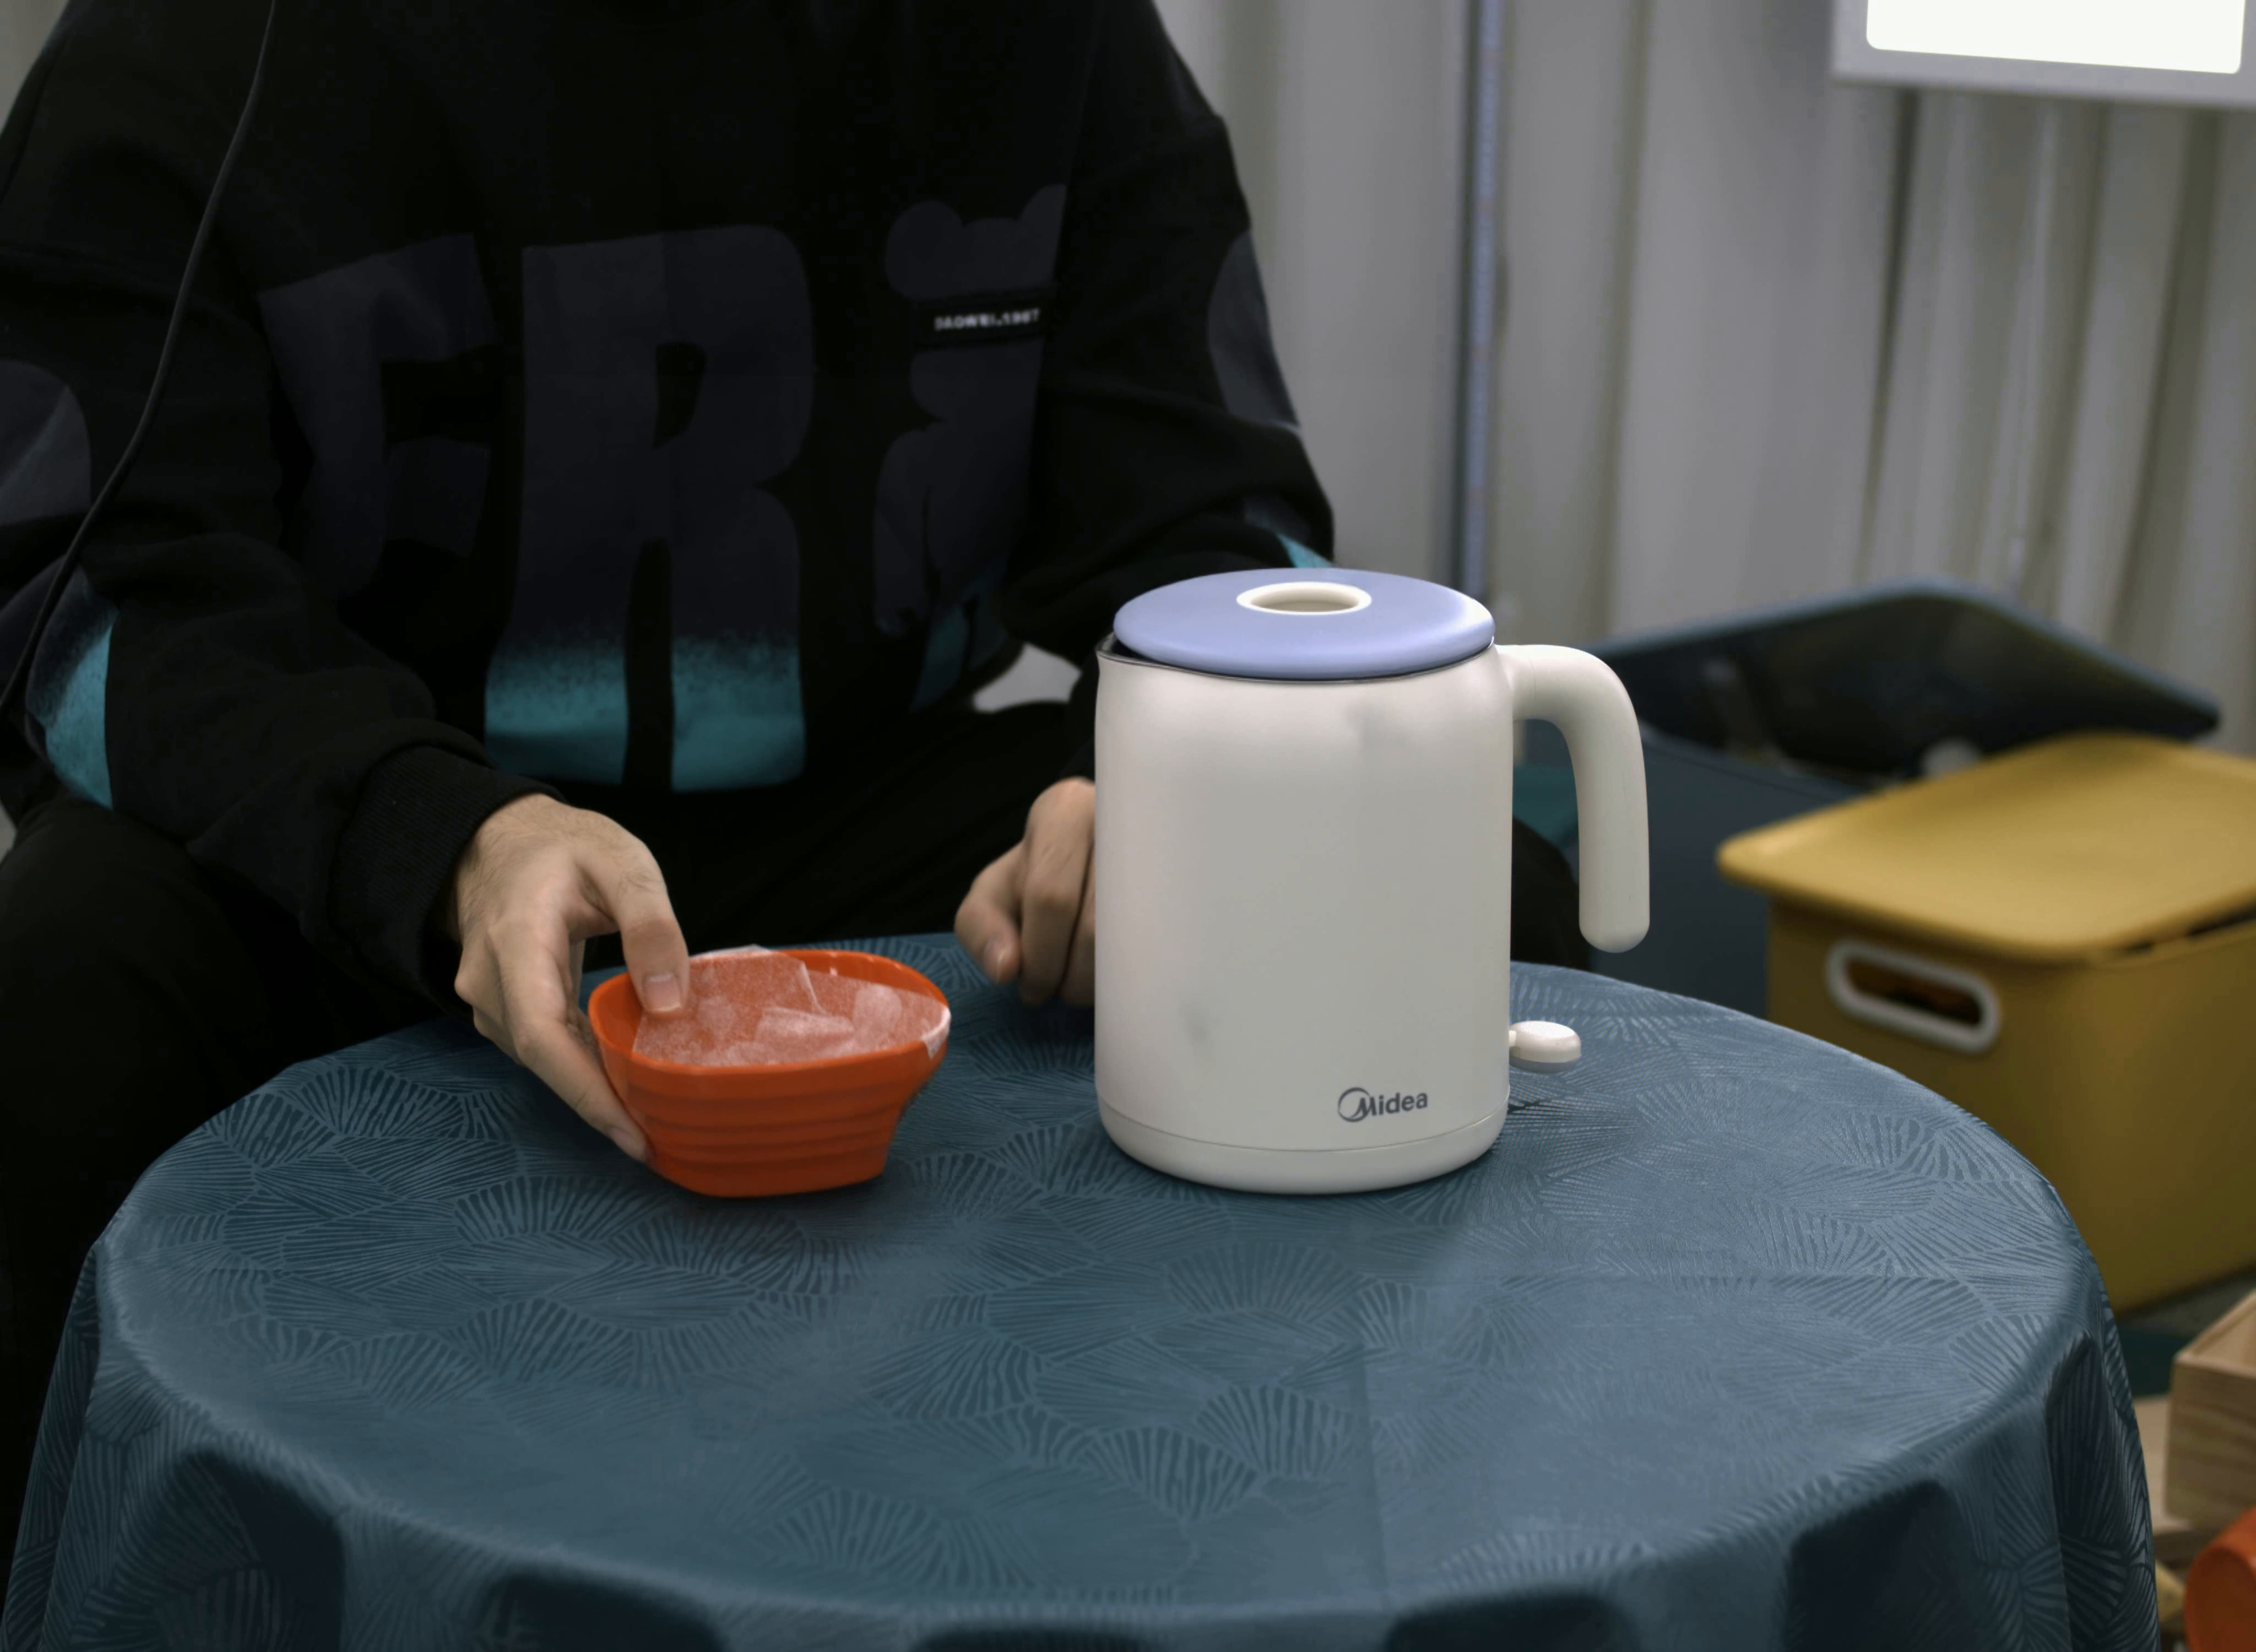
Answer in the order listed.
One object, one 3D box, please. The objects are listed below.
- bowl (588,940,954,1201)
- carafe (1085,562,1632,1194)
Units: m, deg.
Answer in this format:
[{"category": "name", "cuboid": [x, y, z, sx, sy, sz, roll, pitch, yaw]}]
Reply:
[{"category": "bowl", "cuboid": [-0.110, 0.078, 1.625, 0.118, 0.052, 0.118, -1, 20, 1]}, {"category": "carafe", "cuboid": [0.076, 0.014, 1.658, 0.192, 0.184, 0.130, -4, 18, -23]}]
